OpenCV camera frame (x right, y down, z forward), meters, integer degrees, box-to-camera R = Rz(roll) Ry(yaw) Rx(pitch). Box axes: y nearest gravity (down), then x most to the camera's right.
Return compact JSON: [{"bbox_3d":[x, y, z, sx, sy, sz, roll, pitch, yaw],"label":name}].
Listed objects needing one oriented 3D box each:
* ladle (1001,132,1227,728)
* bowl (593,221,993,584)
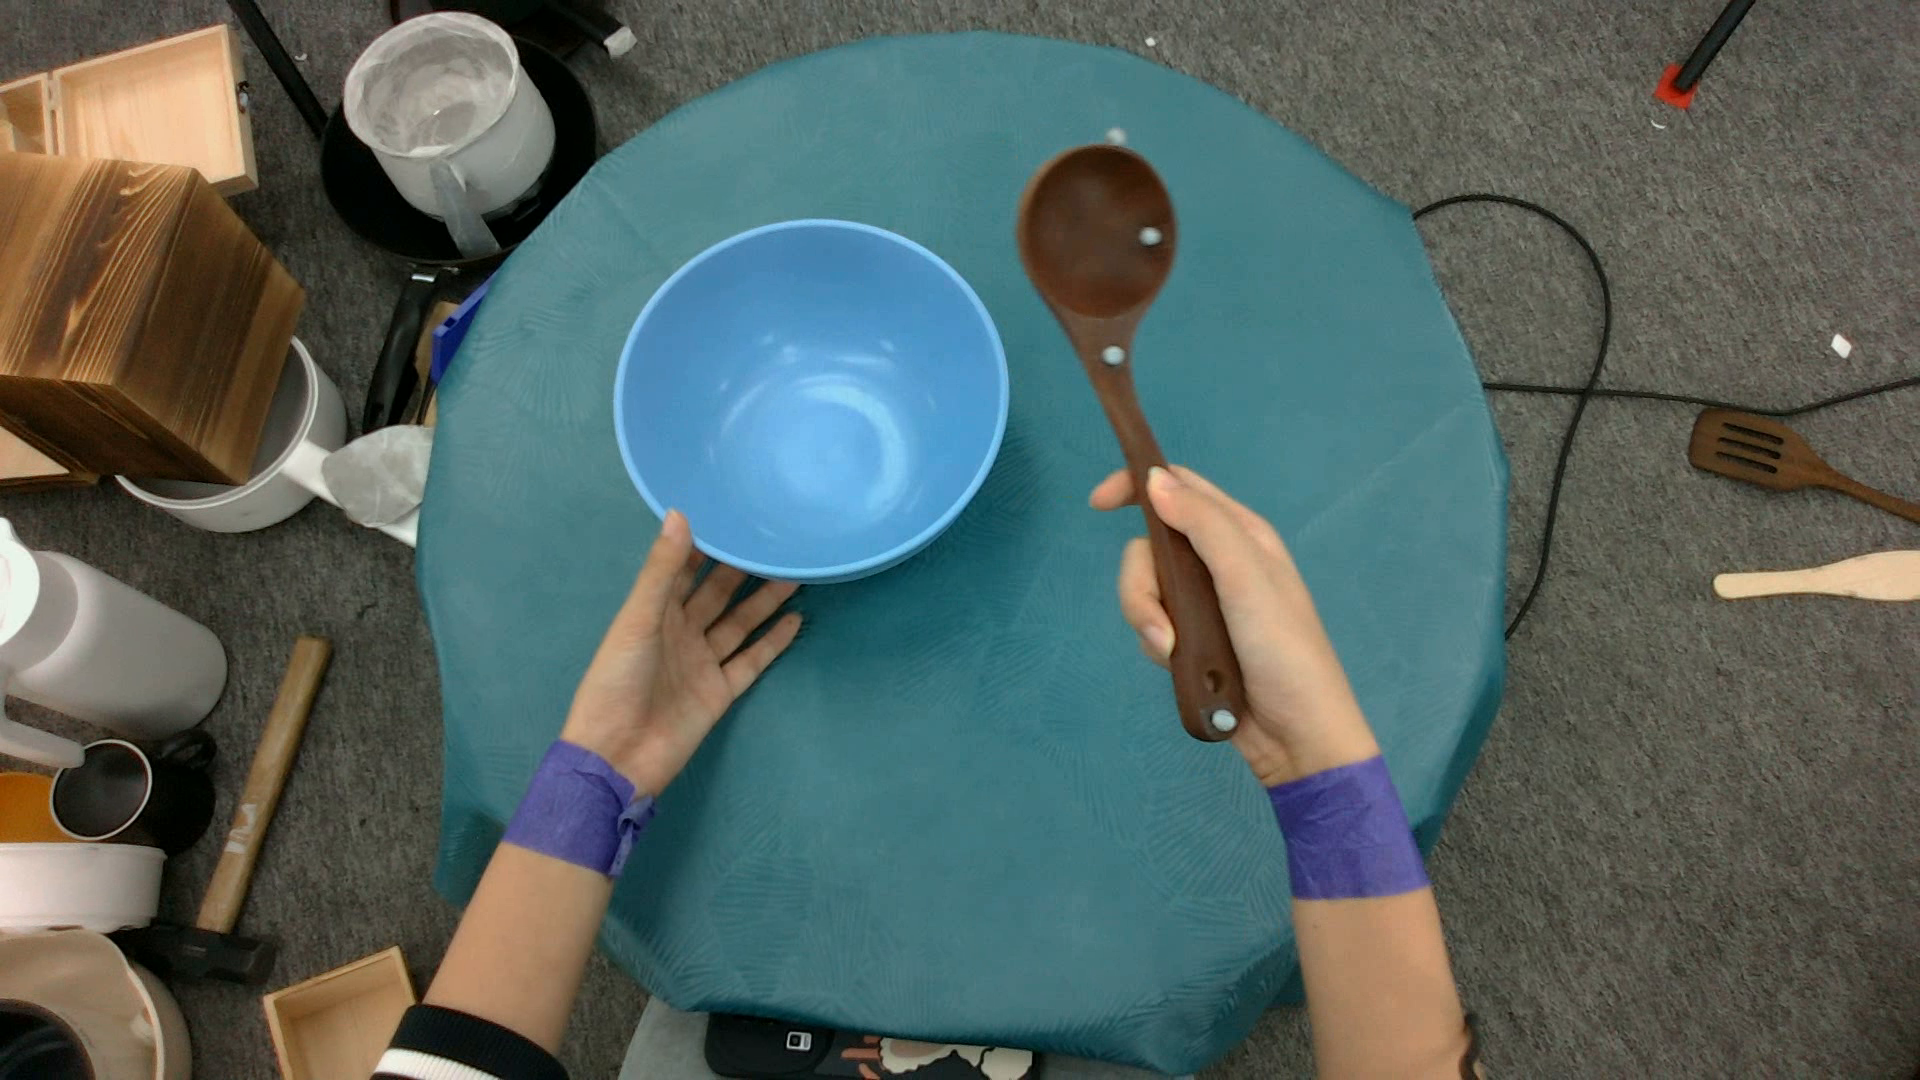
[{"bbox_3d":[0.072,-0.054,0.561,0.076,0.065,0.261,-4,62,-16],"label":"ladle"},{"bbox_3d":[-0.086,-0.059,0.721,0.196,0.095,0.197,2,67,-5],"label":"bowl"}]
